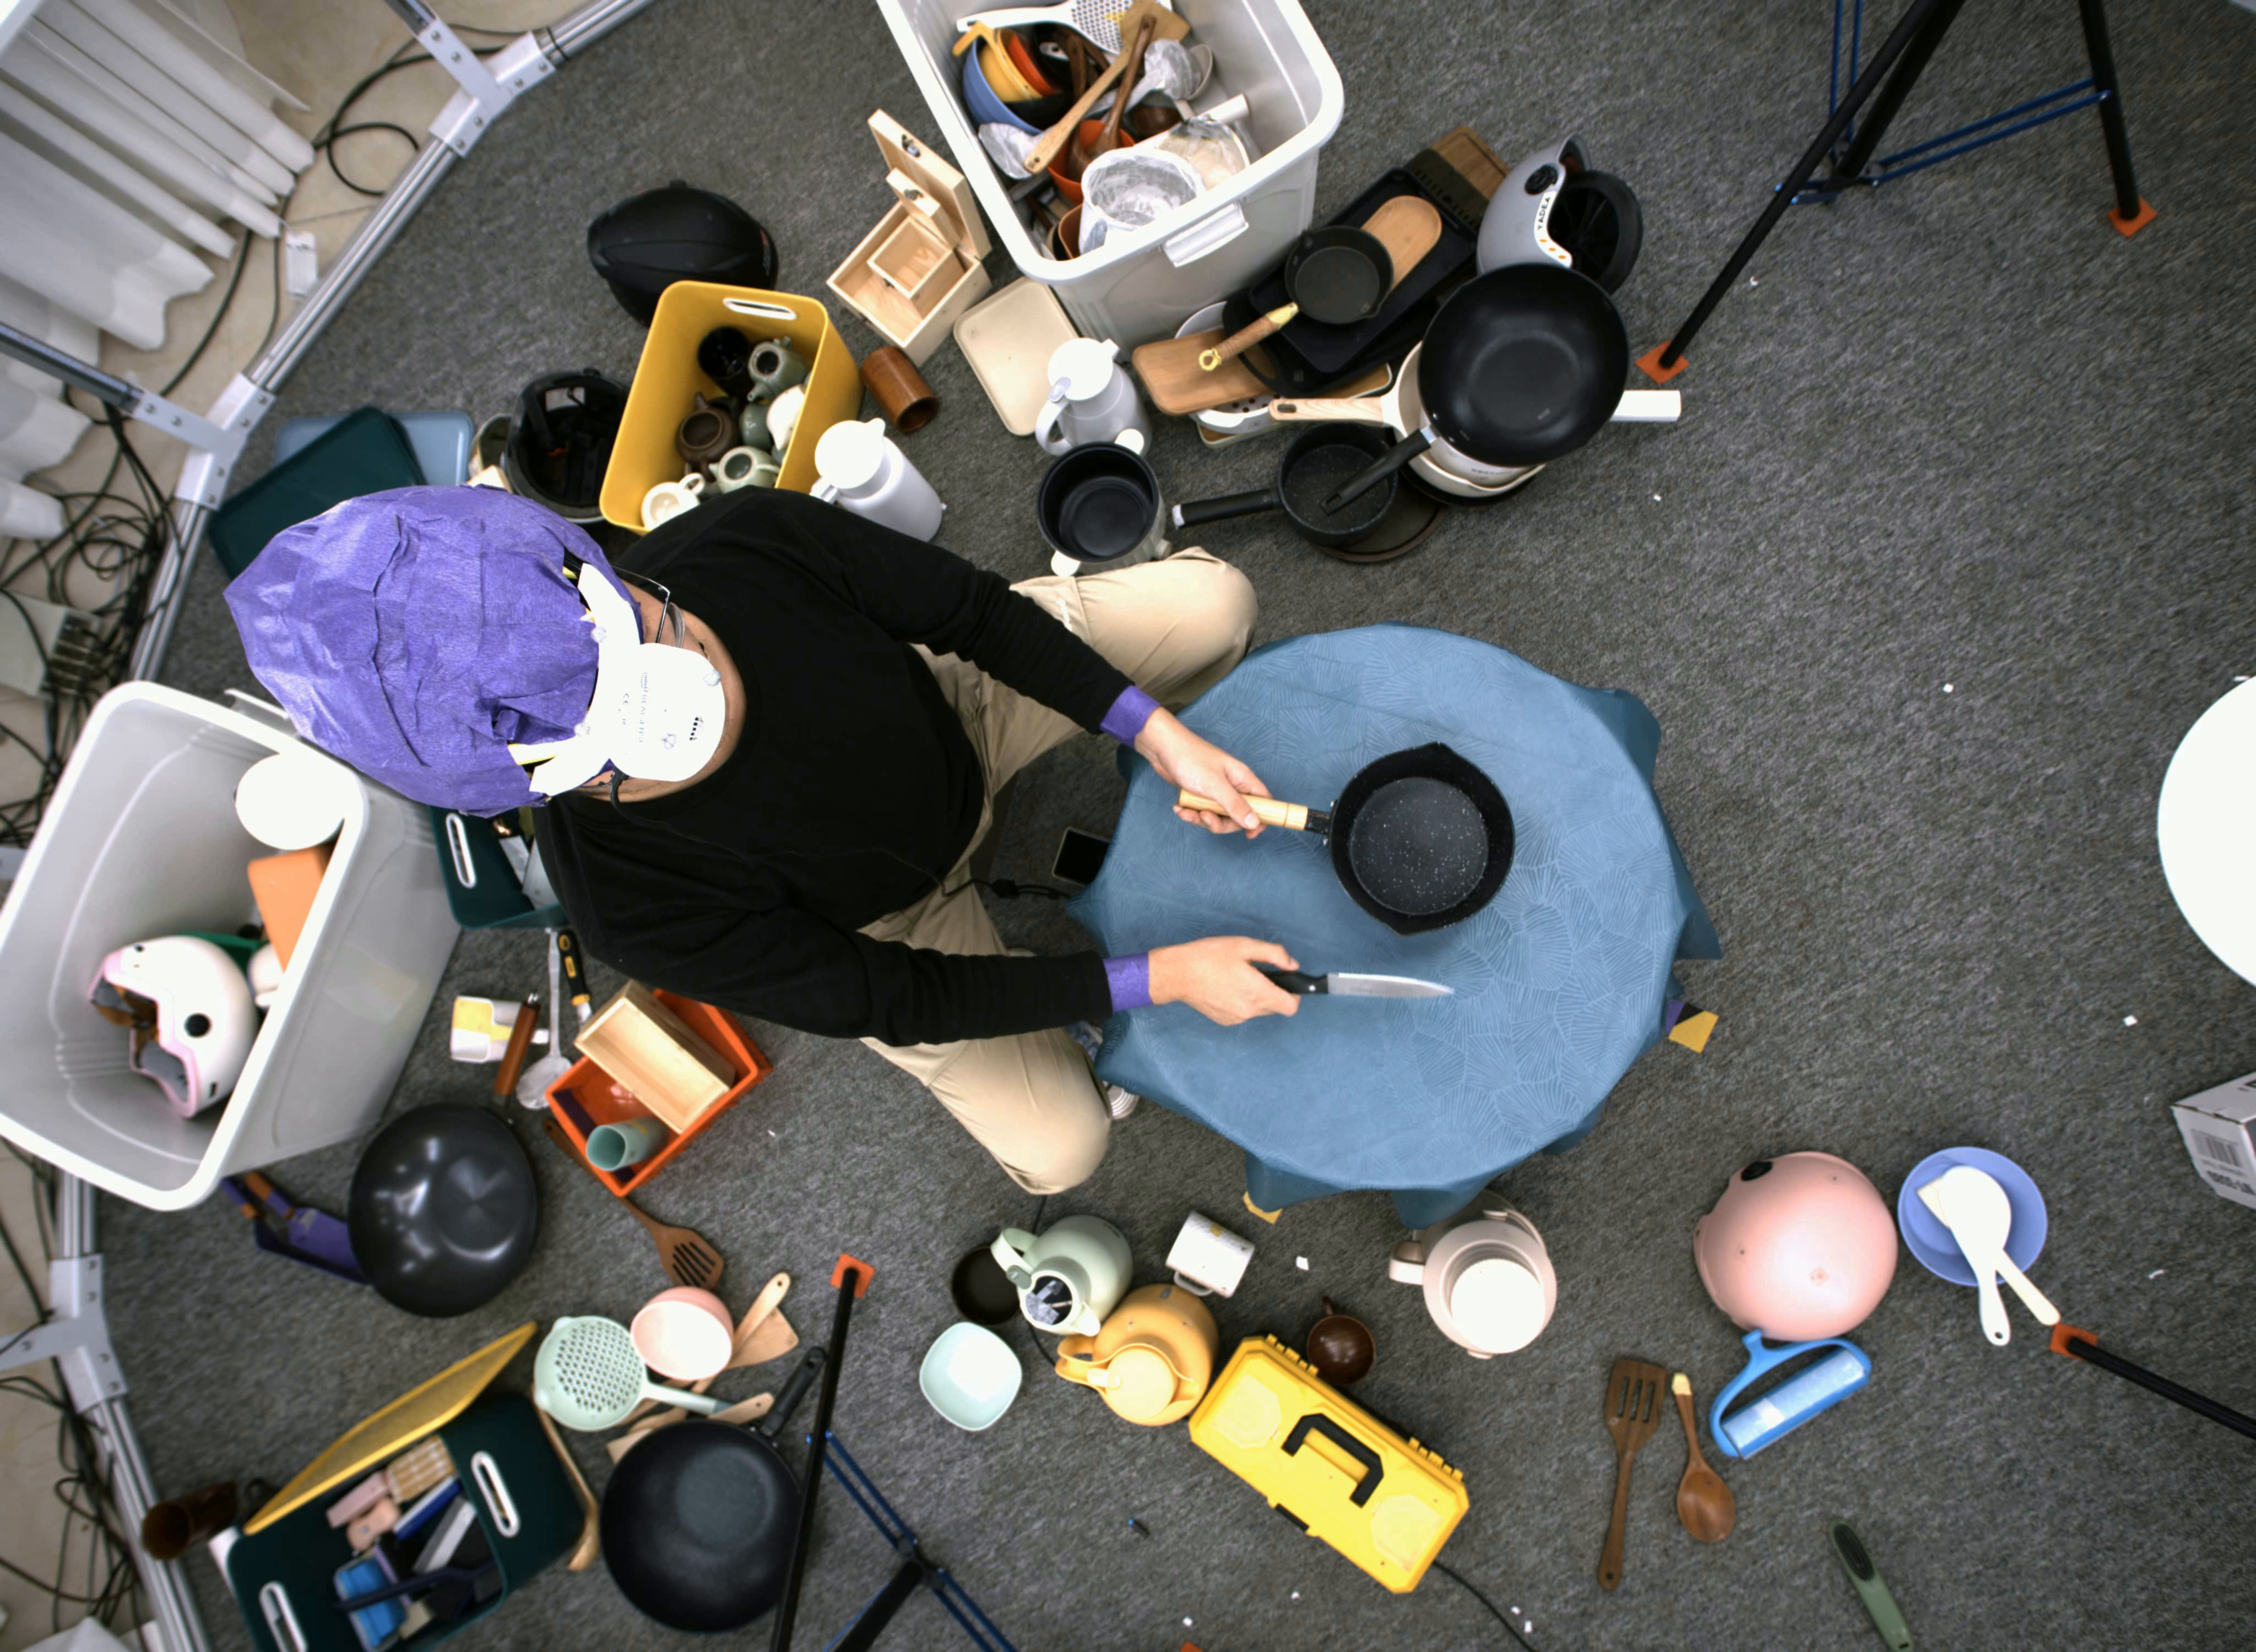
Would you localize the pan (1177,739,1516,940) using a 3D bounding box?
[{"bbox_3d":[0.221,0.002,1.420,0.343,0.108,0.207,10,89,10],"label":"pan"}]

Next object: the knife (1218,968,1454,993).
[{"bbox_3d":[0.207,0.157,1.395,0.239,0.016,0.025,0,110,18],"label":"knife"}]
